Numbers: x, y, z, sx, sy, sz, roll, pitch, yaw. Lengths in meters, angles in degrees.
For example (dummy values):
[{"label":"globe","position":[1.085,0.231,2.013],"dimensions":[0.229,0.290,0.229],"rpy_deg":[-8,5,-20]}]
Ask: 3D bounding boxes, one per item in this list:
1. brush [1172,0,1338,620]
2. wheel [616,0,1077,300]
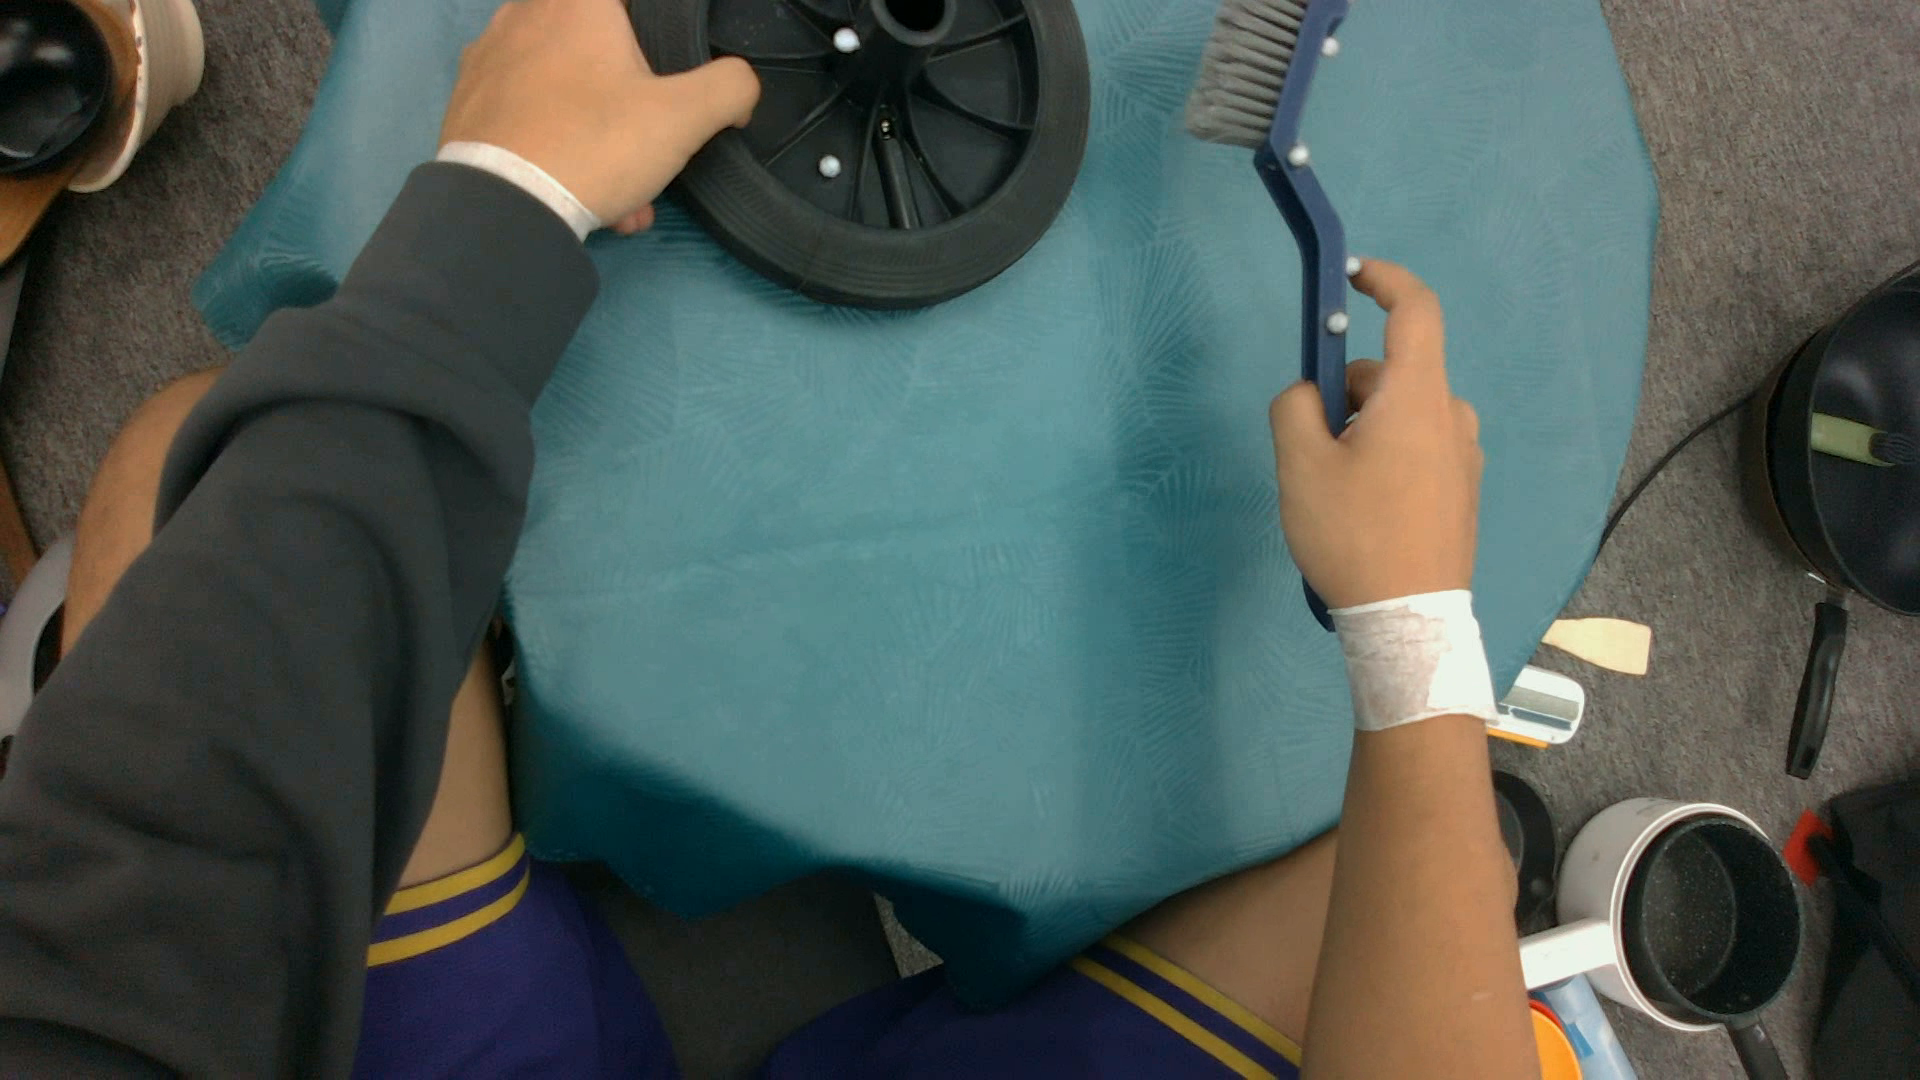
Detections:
[{"label":"brush","position":[0.143,-0.108,0.548],"dimensions":[0.096,0.033,0.273],"rpy_deg":[-9,86,-6]},{"label":"wheel","position":[-0.033,-0.192,0.534],"dimensions":[0.188,0.079,0.189],"rpy_deg":[-39,100,-19]}]
